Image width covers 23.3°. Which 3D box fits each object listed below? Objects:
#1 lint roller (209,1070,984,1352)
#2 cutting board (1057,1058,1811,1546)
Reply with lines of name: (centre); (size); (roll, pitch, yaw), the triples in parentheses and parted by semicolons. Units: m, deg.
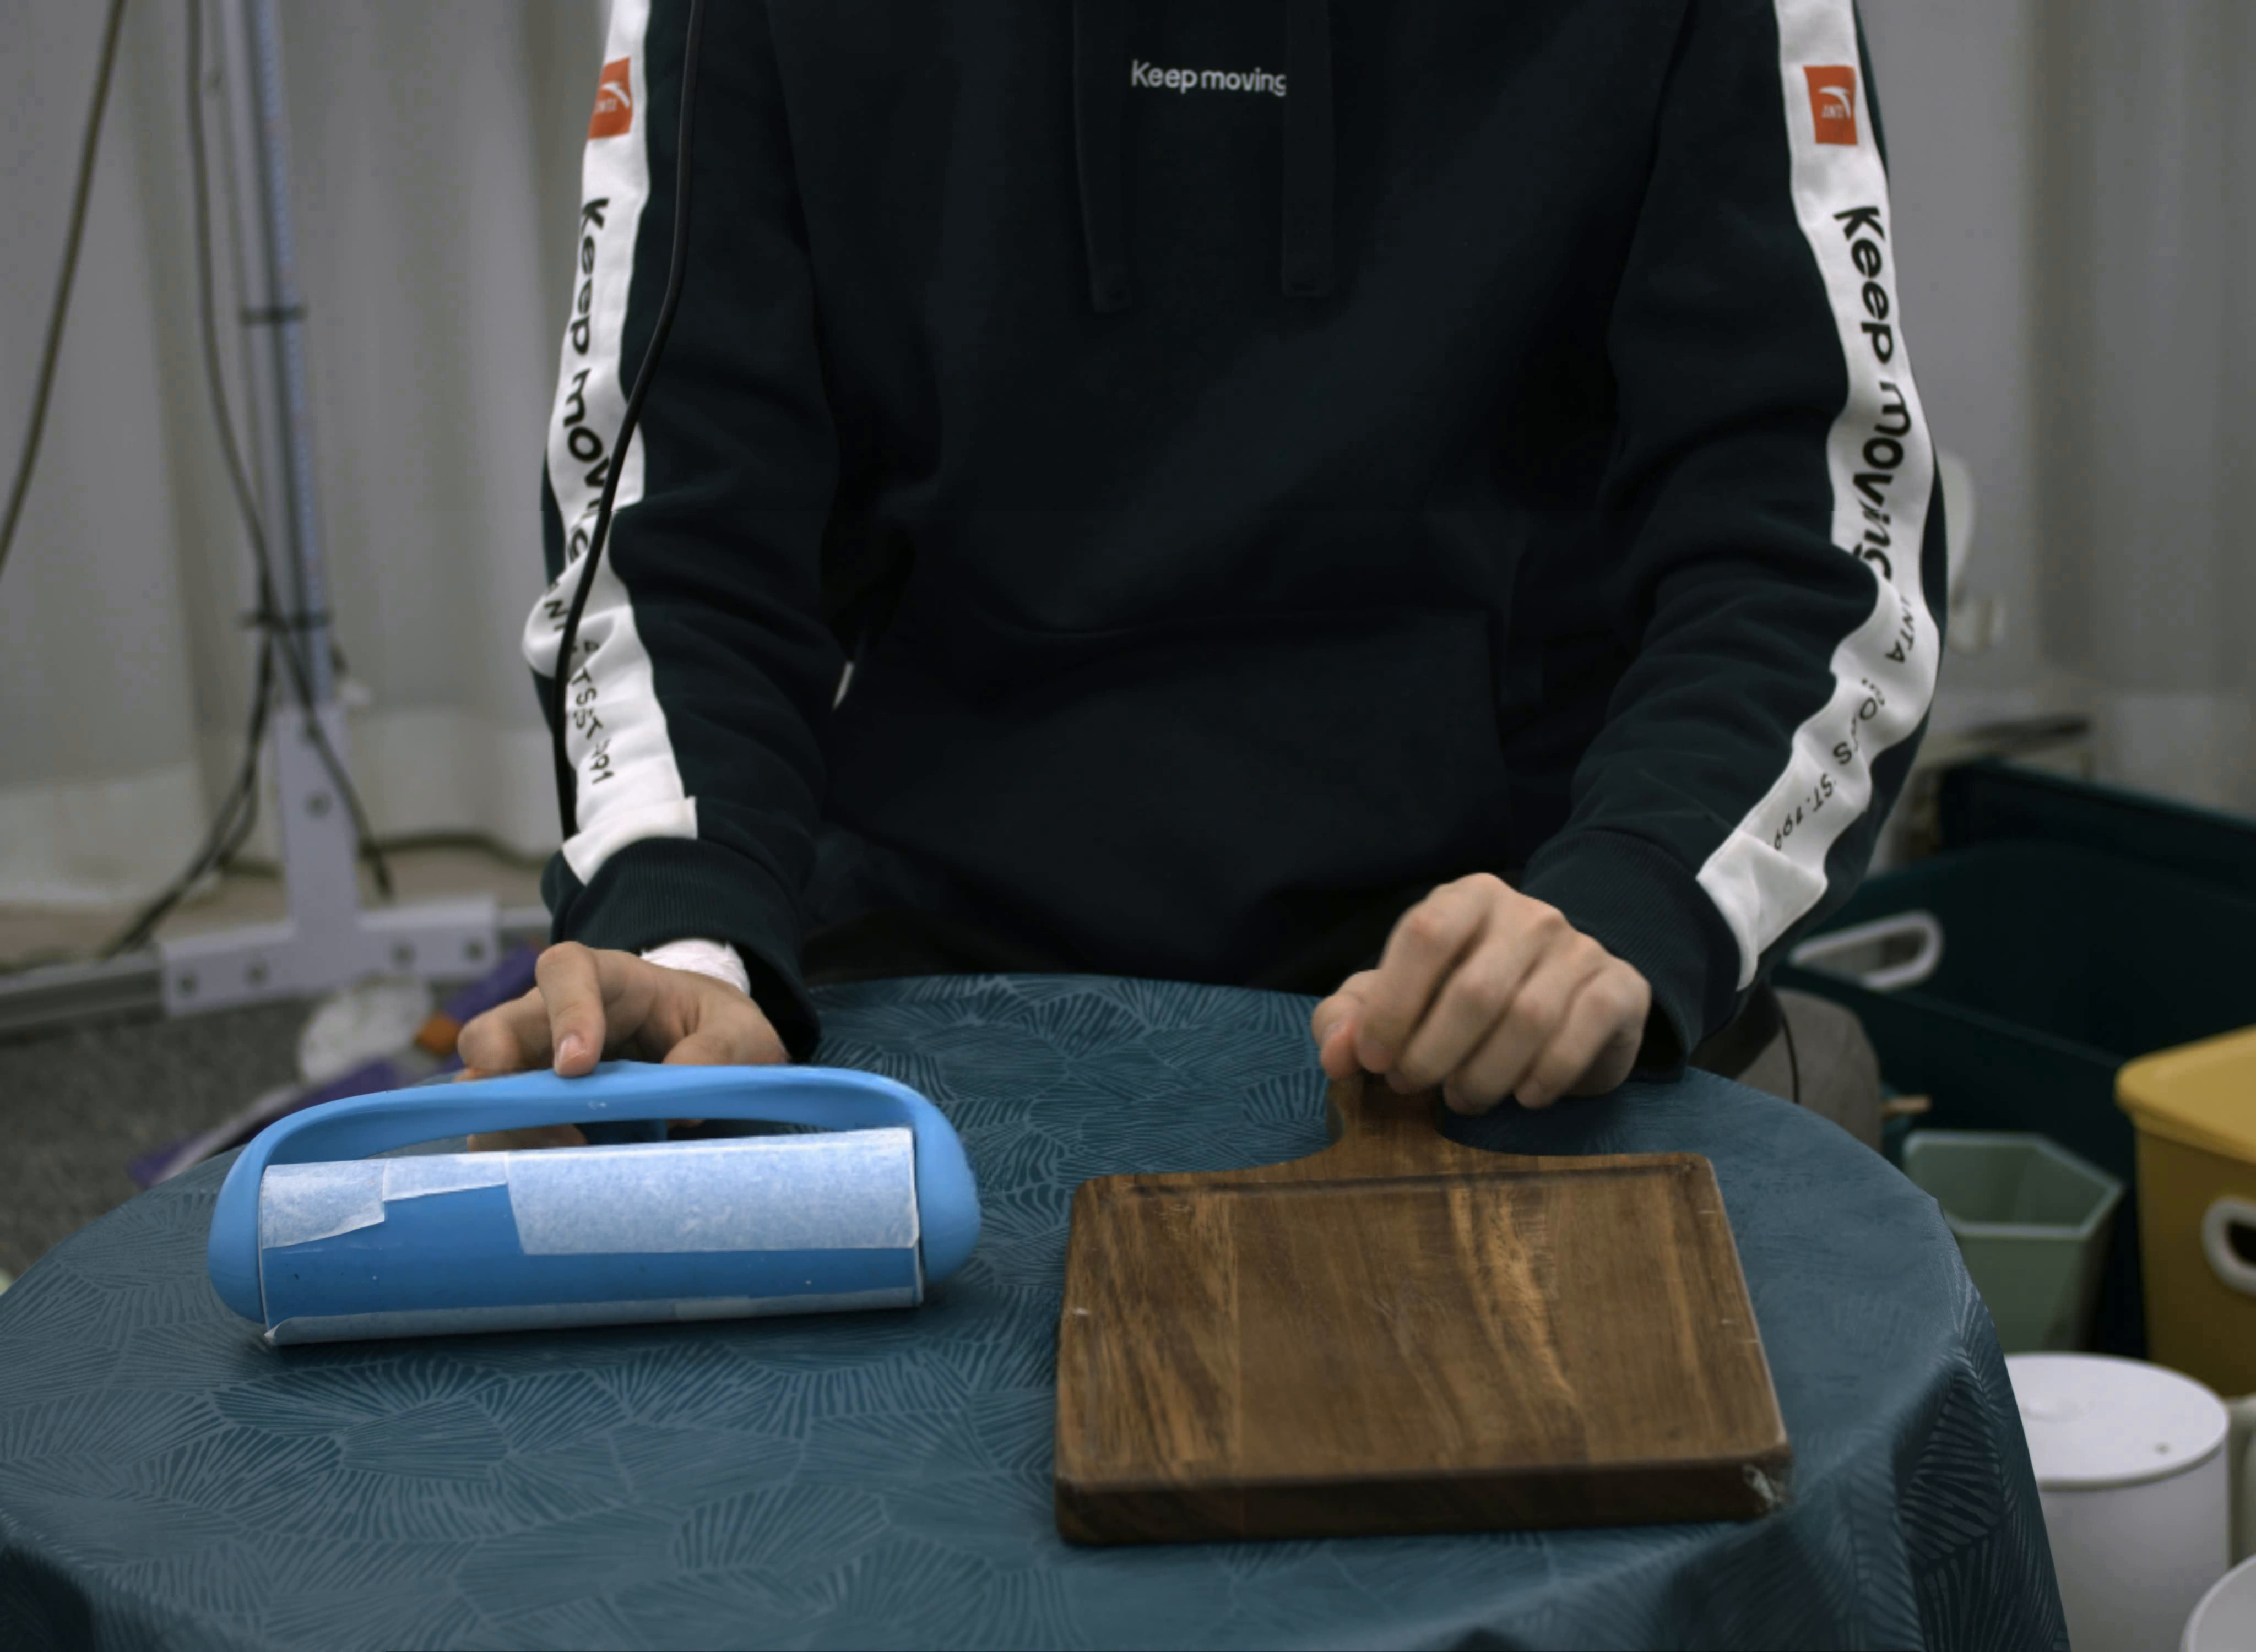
lint roller: (-0.162, 0.105, 1.672); (0.228, 0.067, 0.181); (-5, 16, -3)
cutting board: (0.079, 0.131, 1.595); (0.200, 0.023, 0.354); (-2, 15, 1)
